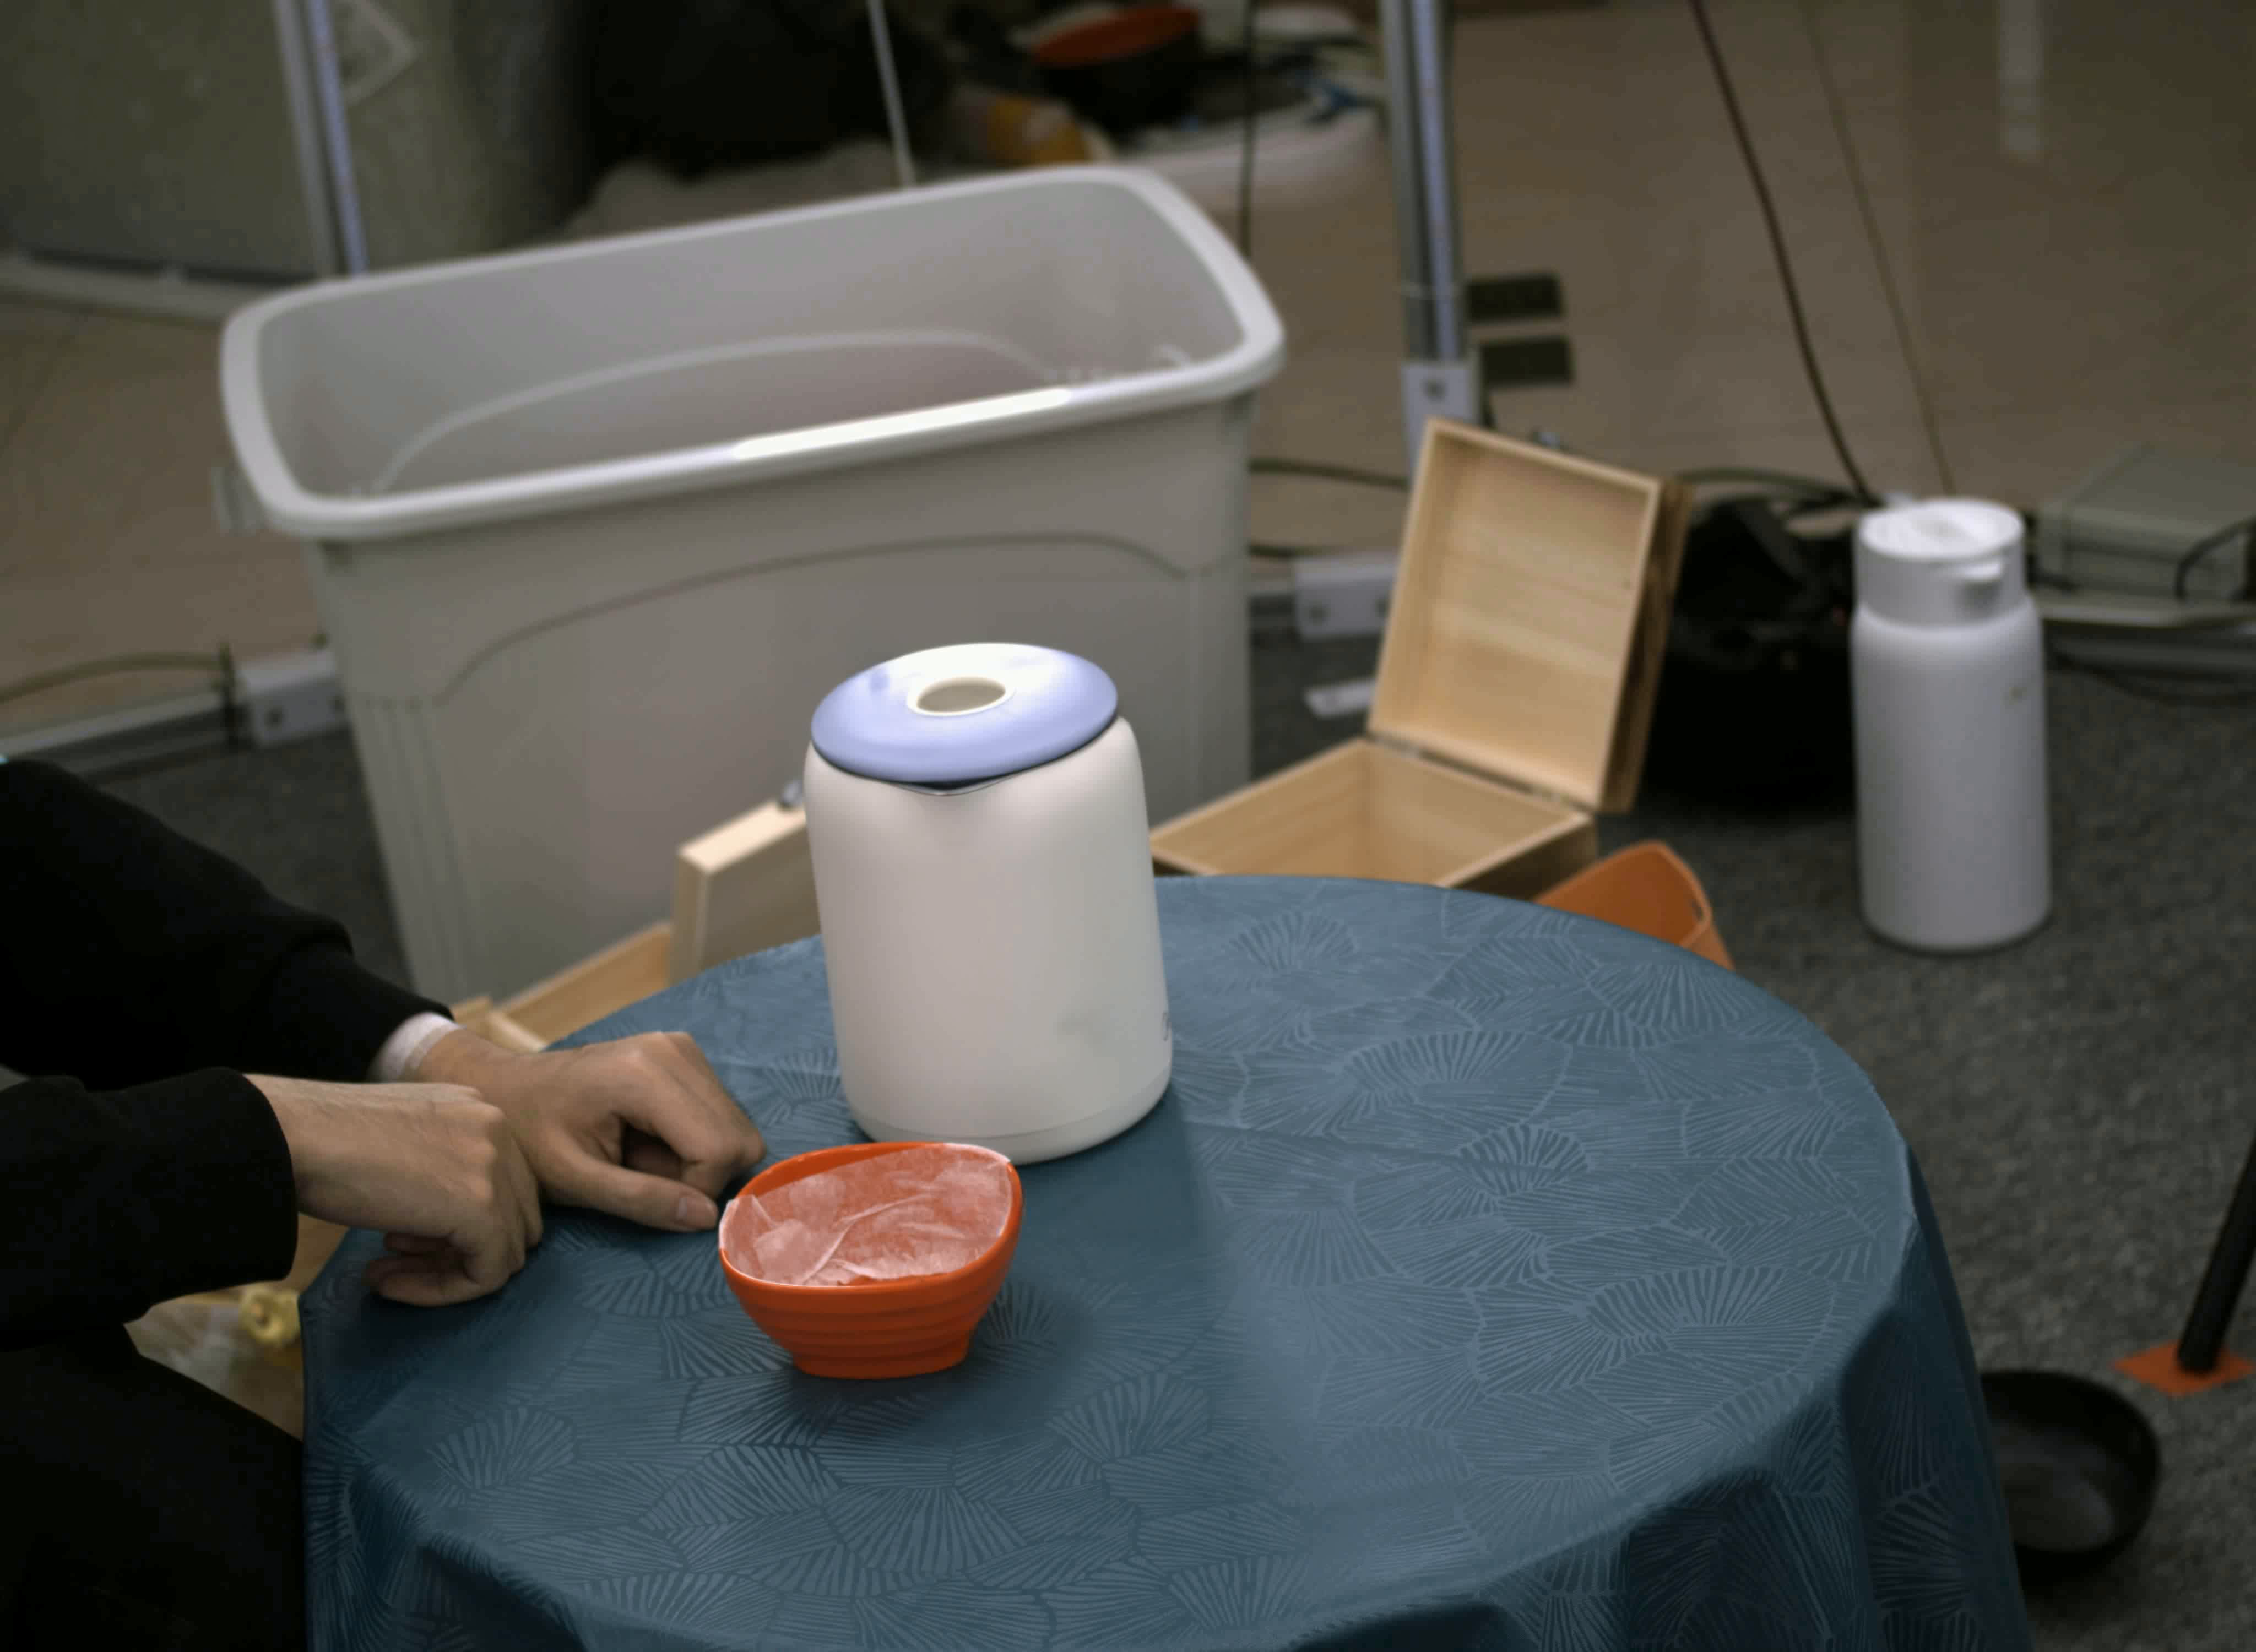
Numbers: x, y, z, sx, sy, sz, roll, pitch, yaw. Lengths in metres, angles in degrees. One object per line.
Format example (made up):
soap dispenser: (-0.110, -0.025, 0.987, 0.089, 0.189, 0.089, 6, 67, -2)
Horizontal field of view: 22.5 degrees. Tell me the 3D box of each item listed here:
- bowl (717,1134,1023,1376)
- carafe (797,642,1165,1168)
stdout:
bowl: (-0.092, 0.160, 2.056, 0.119, 0.052, 0.117, -3, 28, 2)
carafe: (-0.056, 0.021, 2.207, 0.132, 0.185, 0.188, -4, 23, 3)
